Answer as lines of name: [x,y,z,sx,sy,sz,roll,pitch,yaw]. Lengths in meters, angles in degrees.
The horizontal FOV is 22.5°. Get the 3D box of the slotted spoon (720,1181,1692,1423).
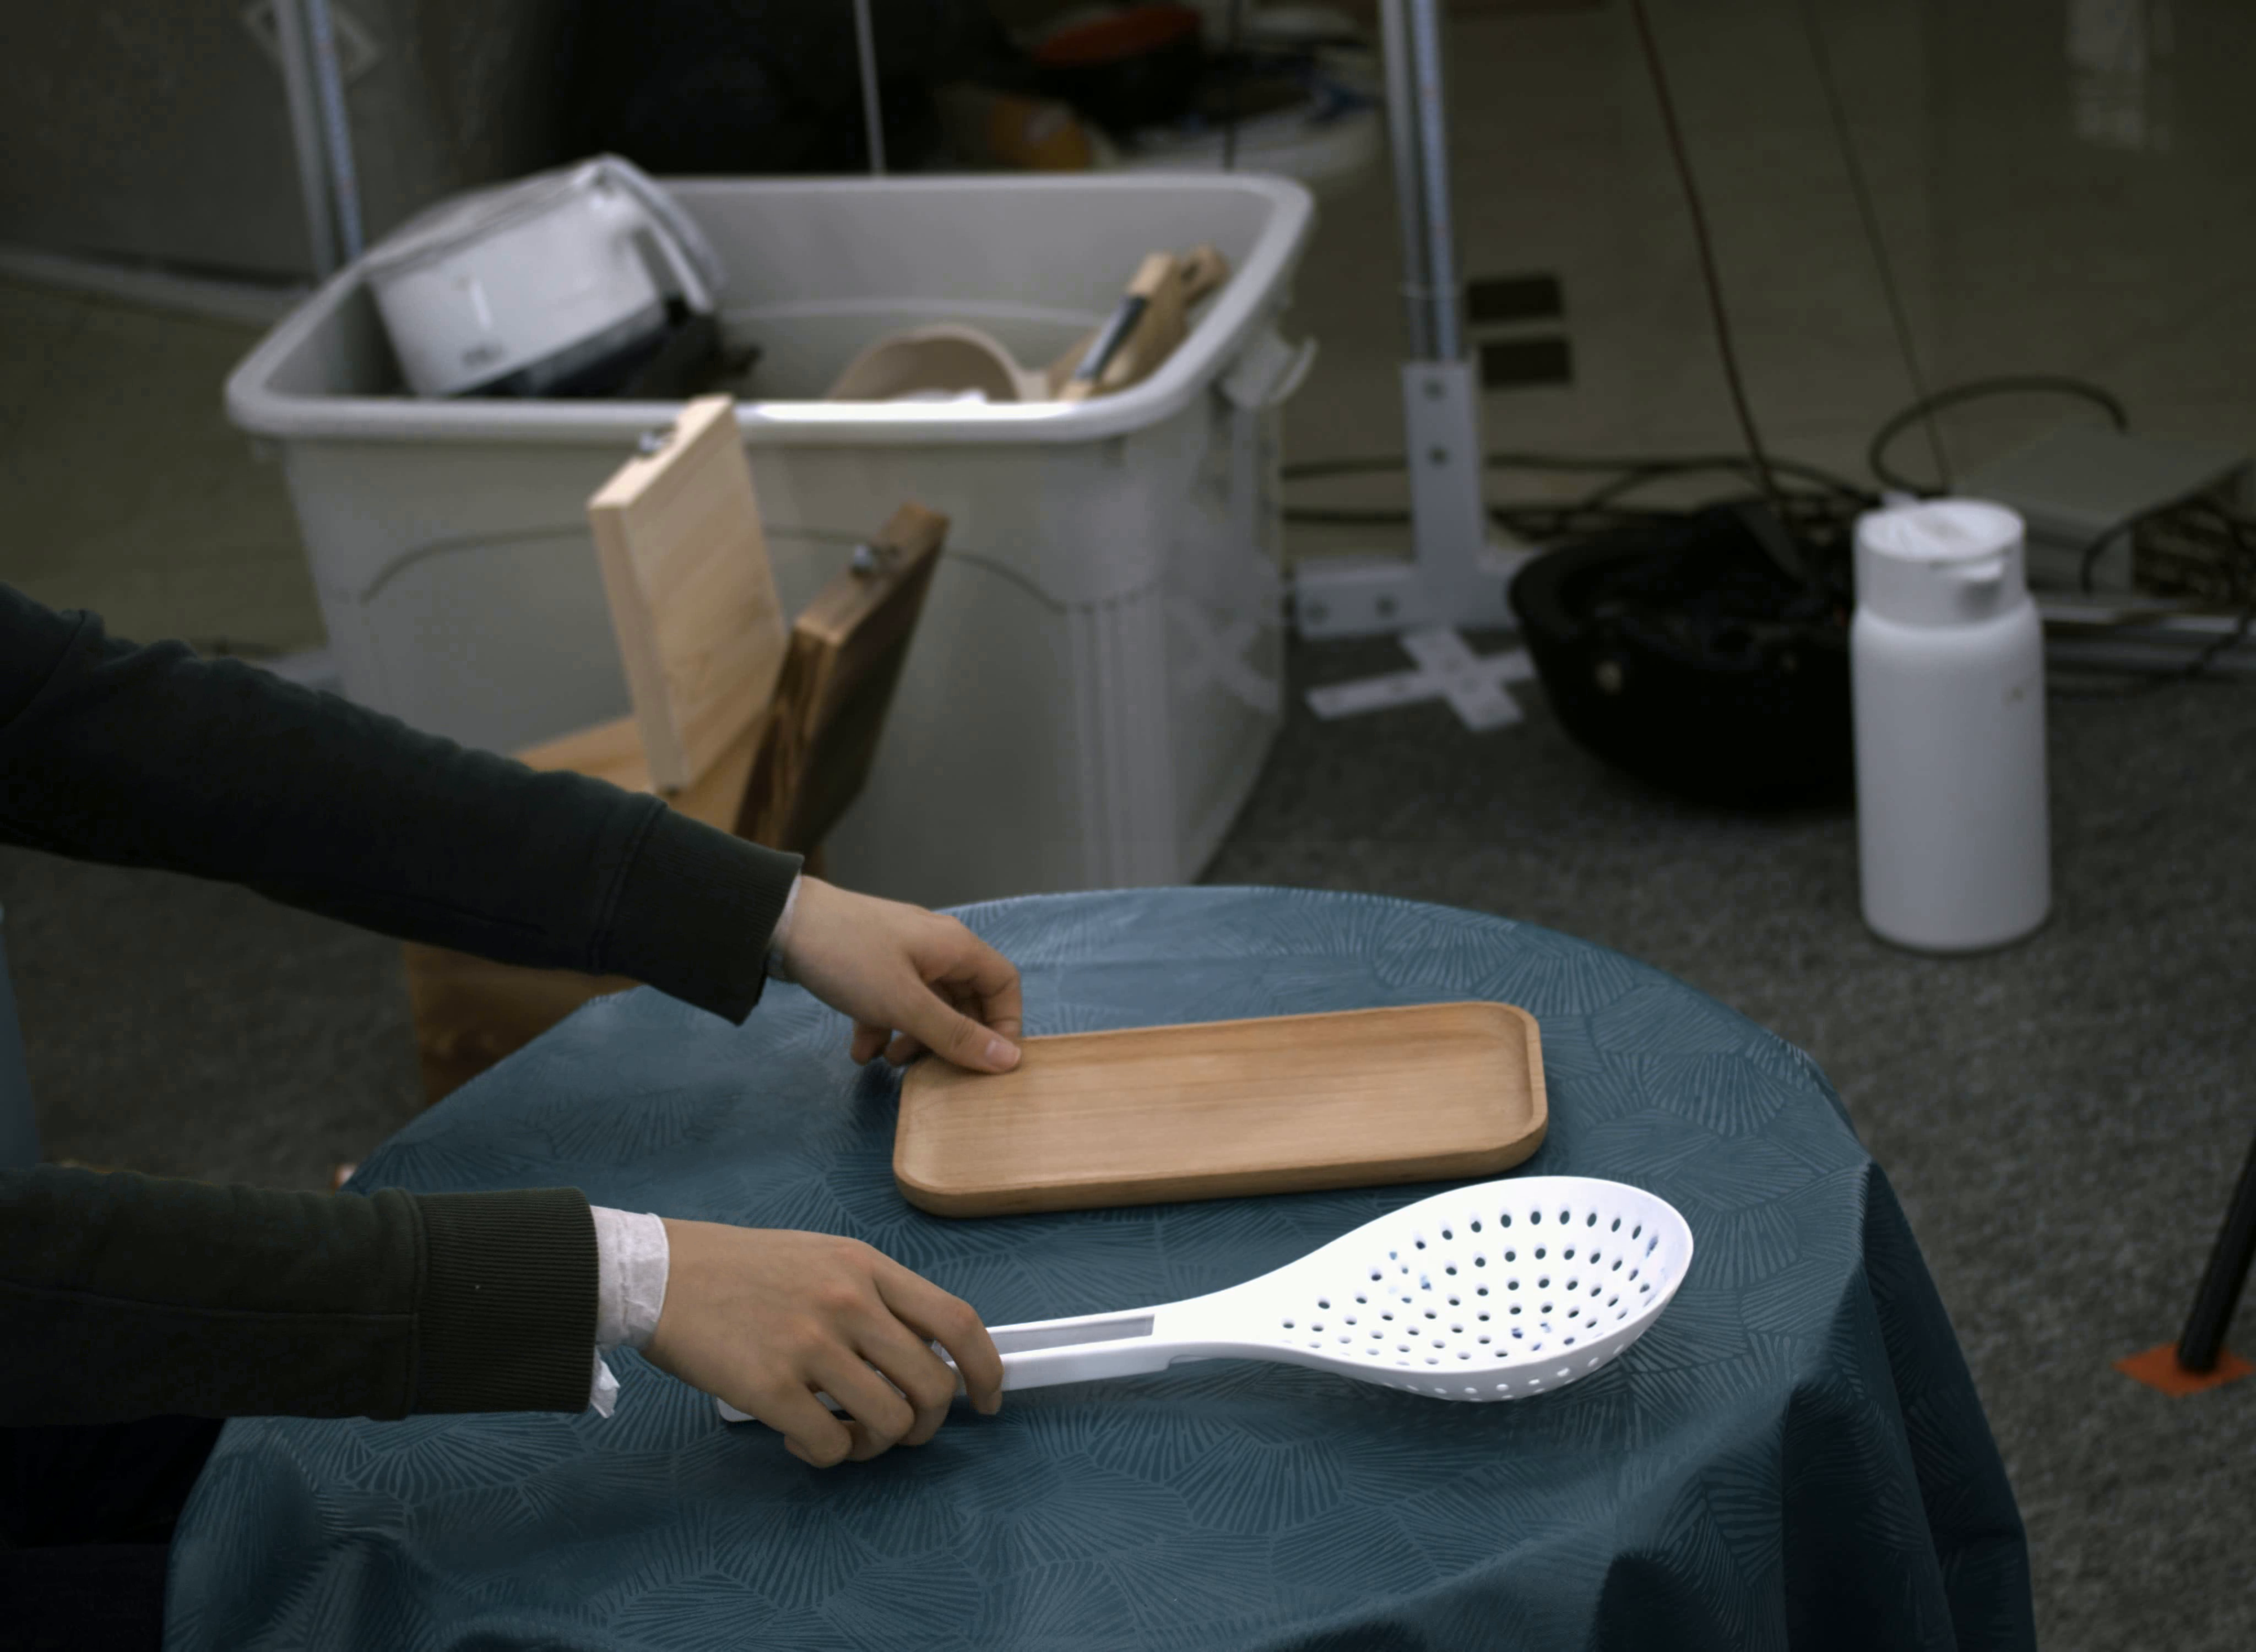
slotted spoon: [0.026,0.179,2.007,0.349,0.046,0.134,-4,23,7]

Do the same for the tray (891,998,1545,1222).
tray: [0.035,0.110,2.188,0.250,0.023,0.129,-6,23,4]
